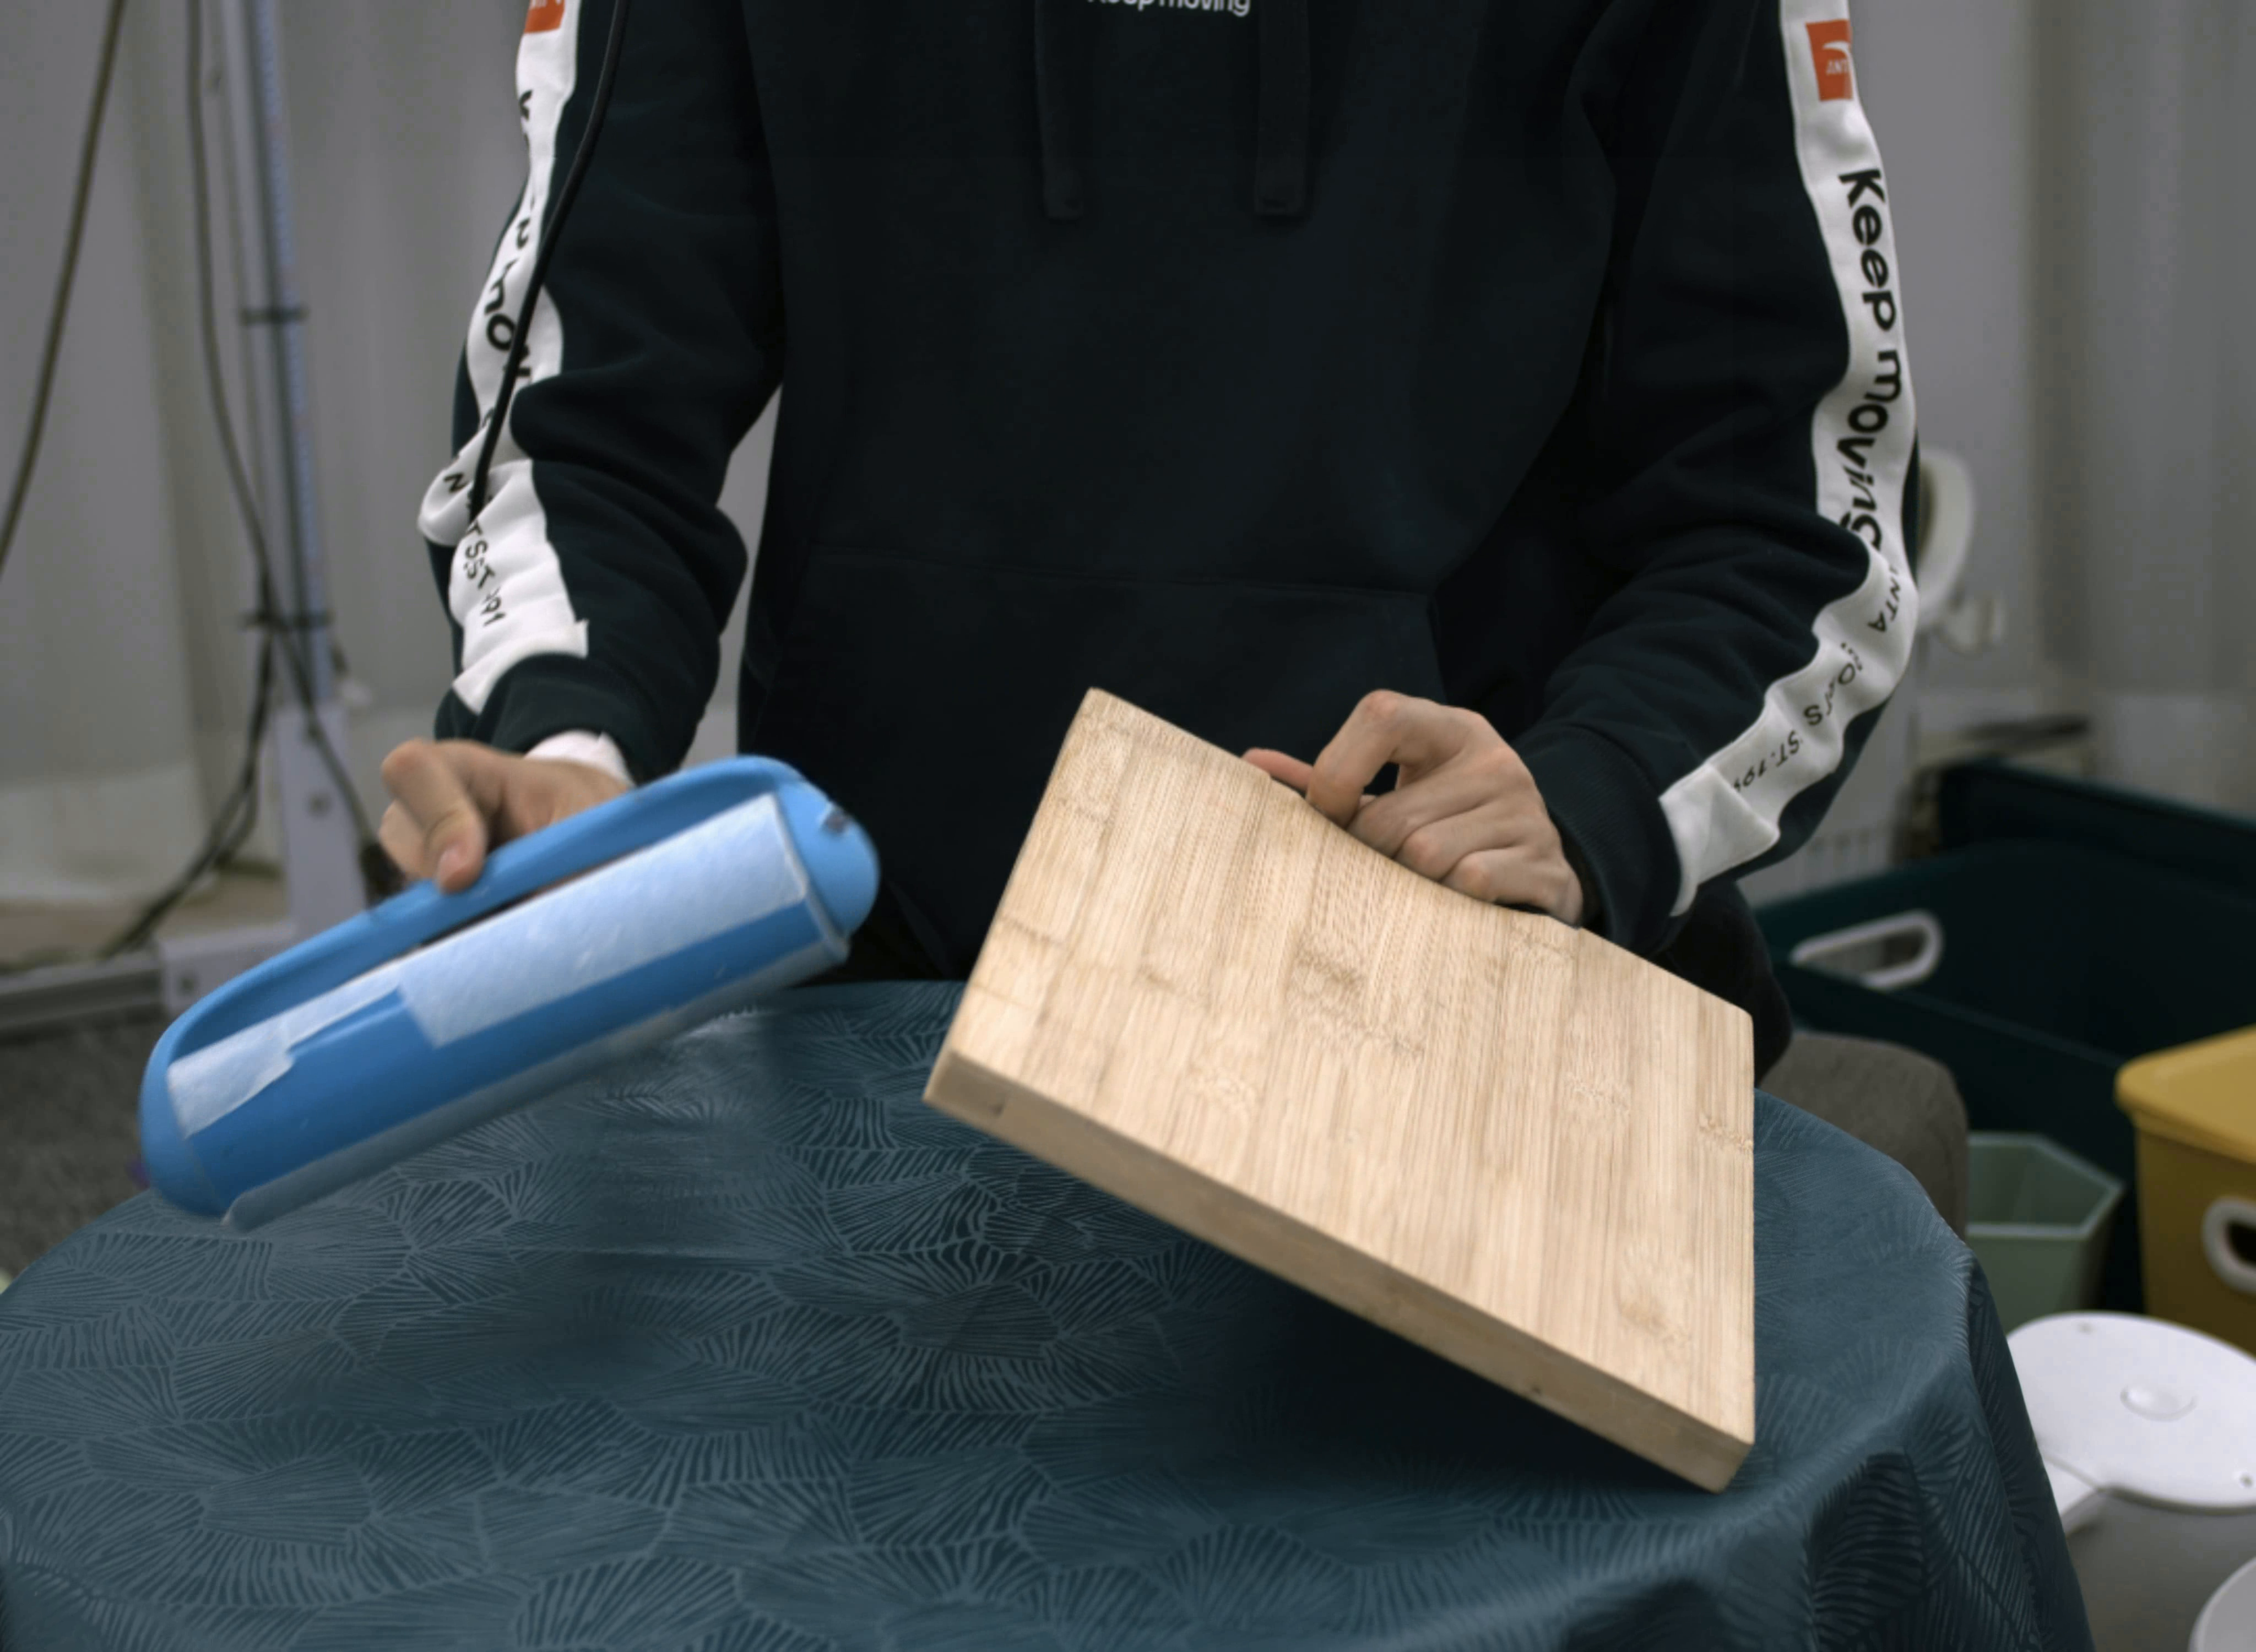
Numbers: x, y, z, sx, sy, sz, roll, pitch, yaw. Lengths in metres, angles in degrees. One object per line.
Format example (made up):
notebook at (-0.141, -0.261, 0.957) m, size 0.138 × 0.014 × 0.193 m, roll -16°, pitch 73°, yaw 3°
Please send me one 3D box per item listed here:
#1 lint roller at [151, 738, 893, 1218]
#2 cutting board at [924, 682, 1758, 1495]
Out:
lint roller at (-0.179, 0.035, 1.622) m, size 0.228 × 0.067 × 0.181 m, roll -27°, pitch 13°, yaw 0°
cutting board at (0.074, 0.065, 1.608) m, size 0.250 × 0.023 × 0.351 m, roll 27°, pitch 18°, yaw -3°
